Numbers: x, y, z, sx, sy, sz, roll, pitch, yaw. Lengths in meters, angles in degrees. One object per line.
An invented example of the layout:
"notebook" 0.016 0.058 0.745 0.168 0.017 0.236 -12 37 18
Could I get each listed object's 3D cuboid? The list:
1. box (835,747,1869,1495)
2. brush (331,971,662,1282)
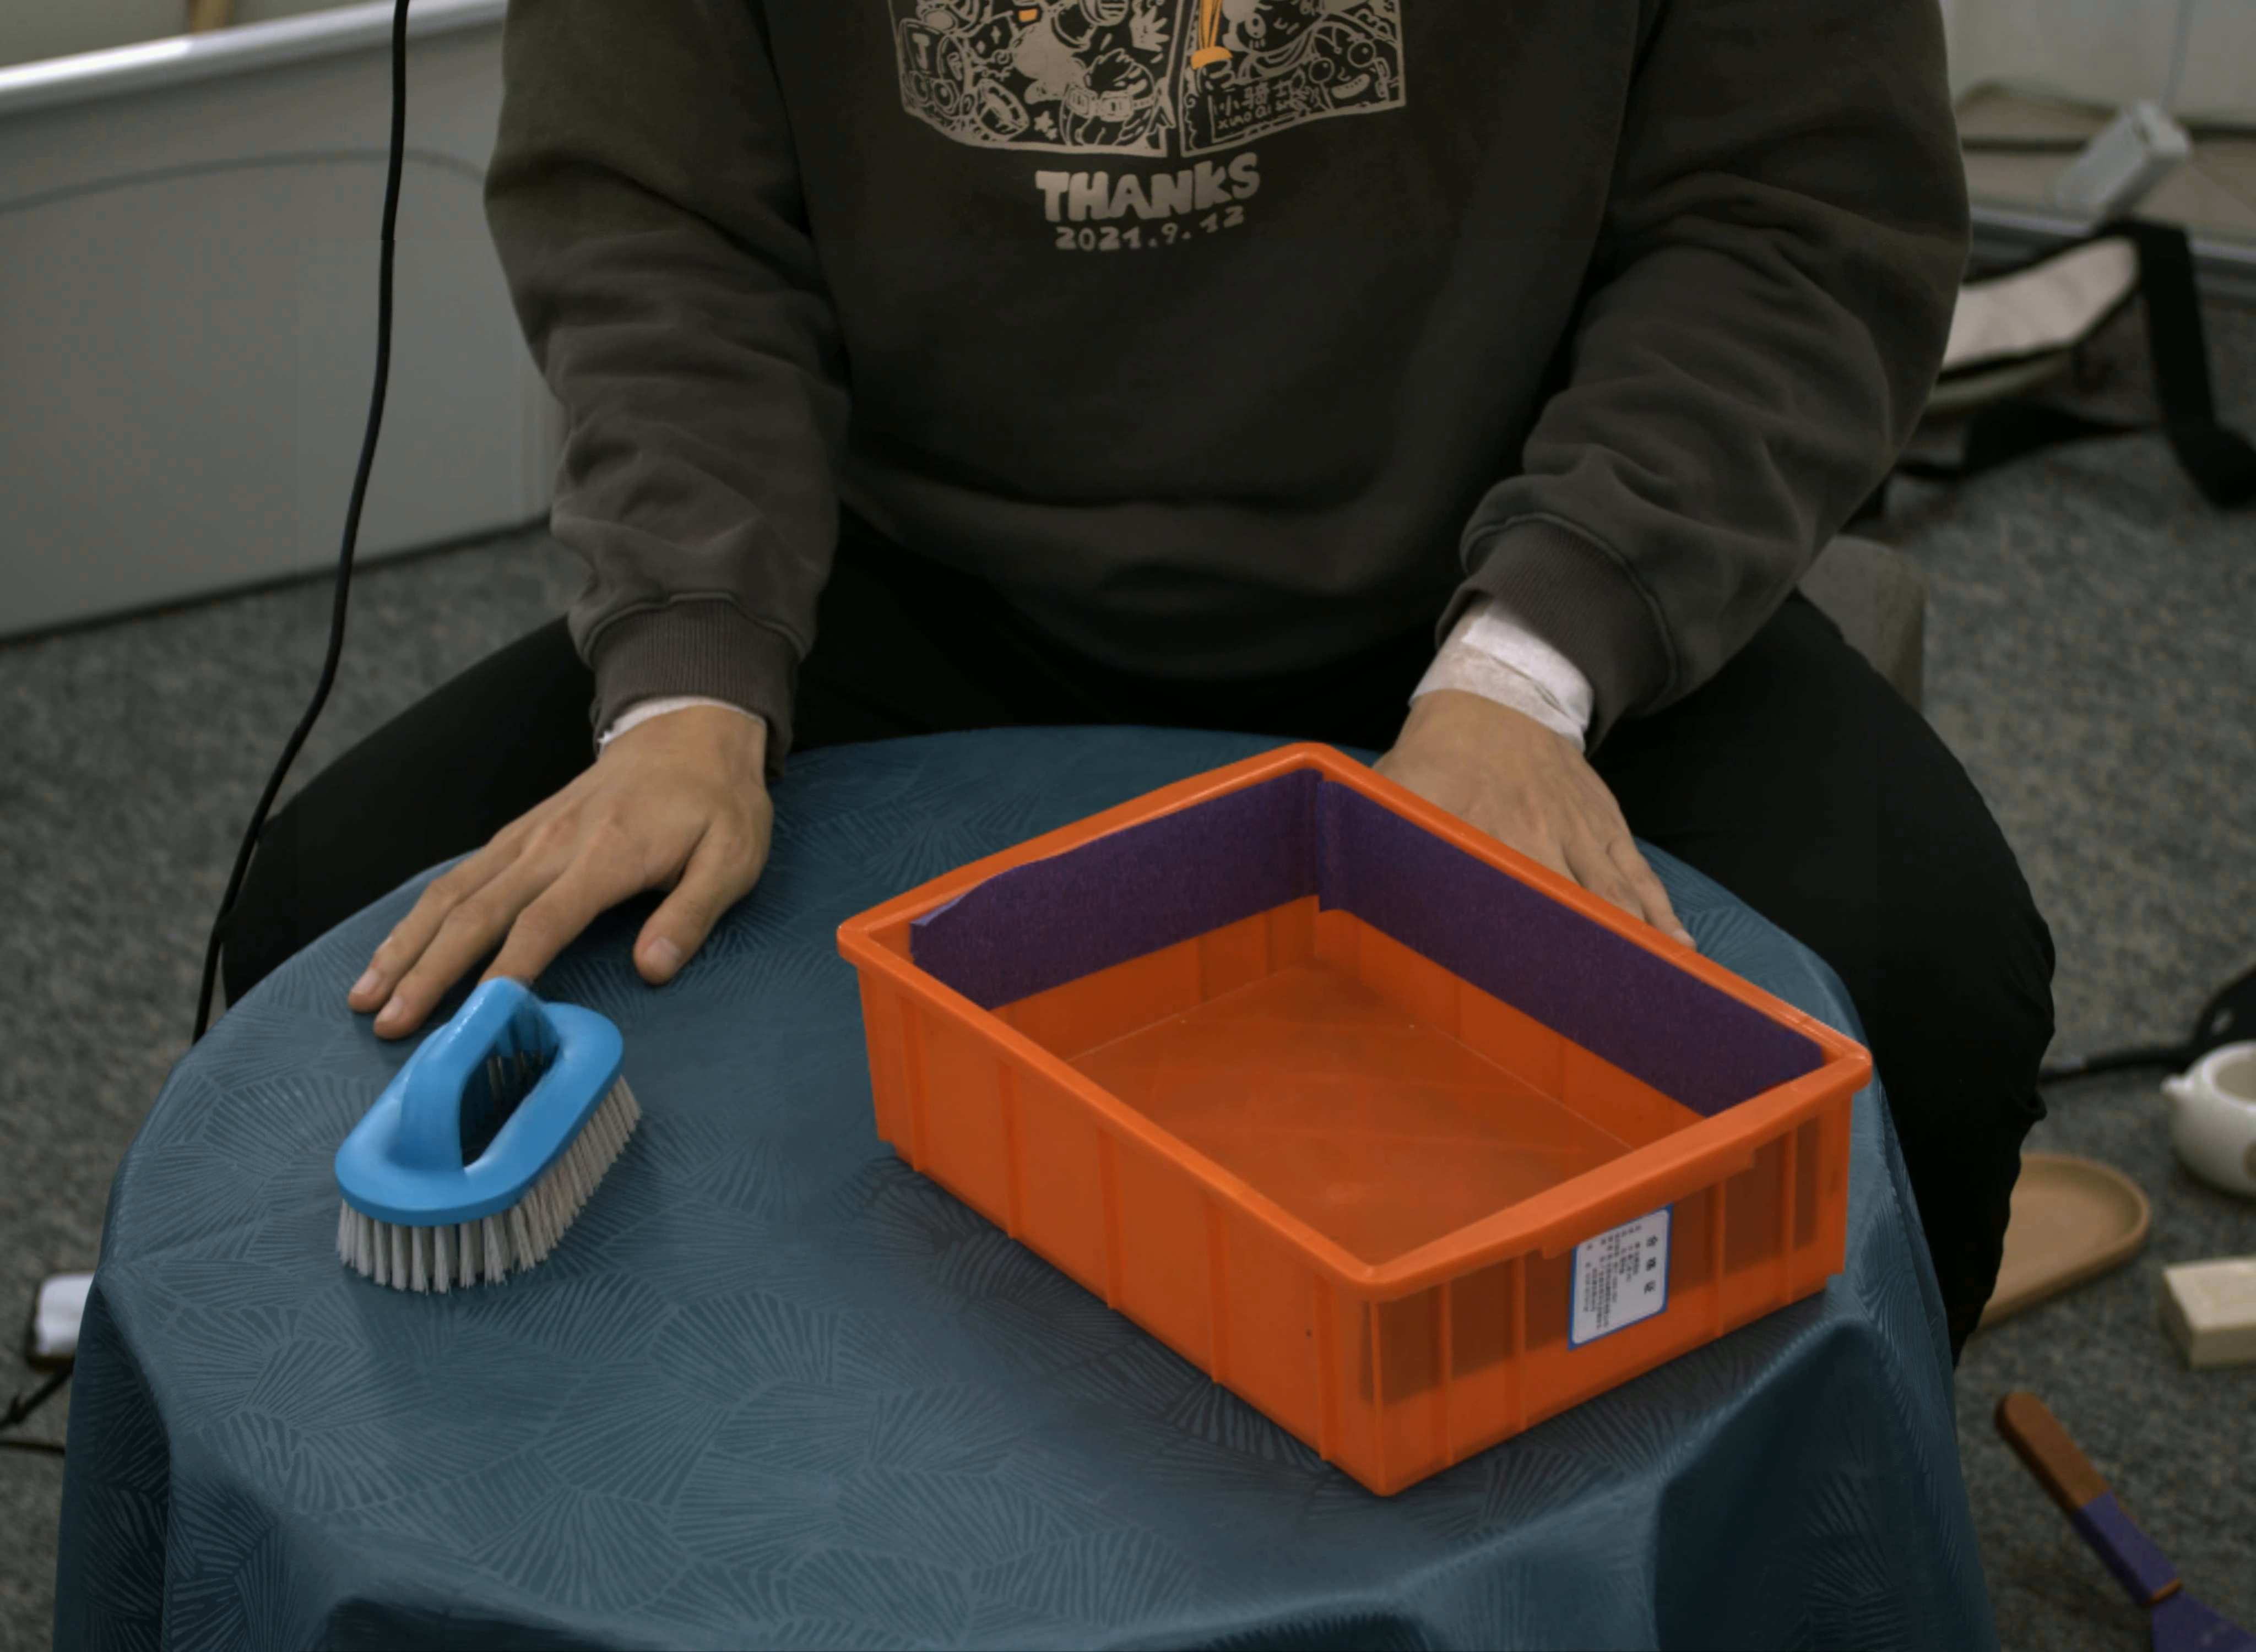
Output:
"box" 0.069 0.091 1.821 0.208 0.095 0.304 -20 33 -30
"brush" -0.213 0.091 1.870 0.083 0.063 0.144 2 26 20
